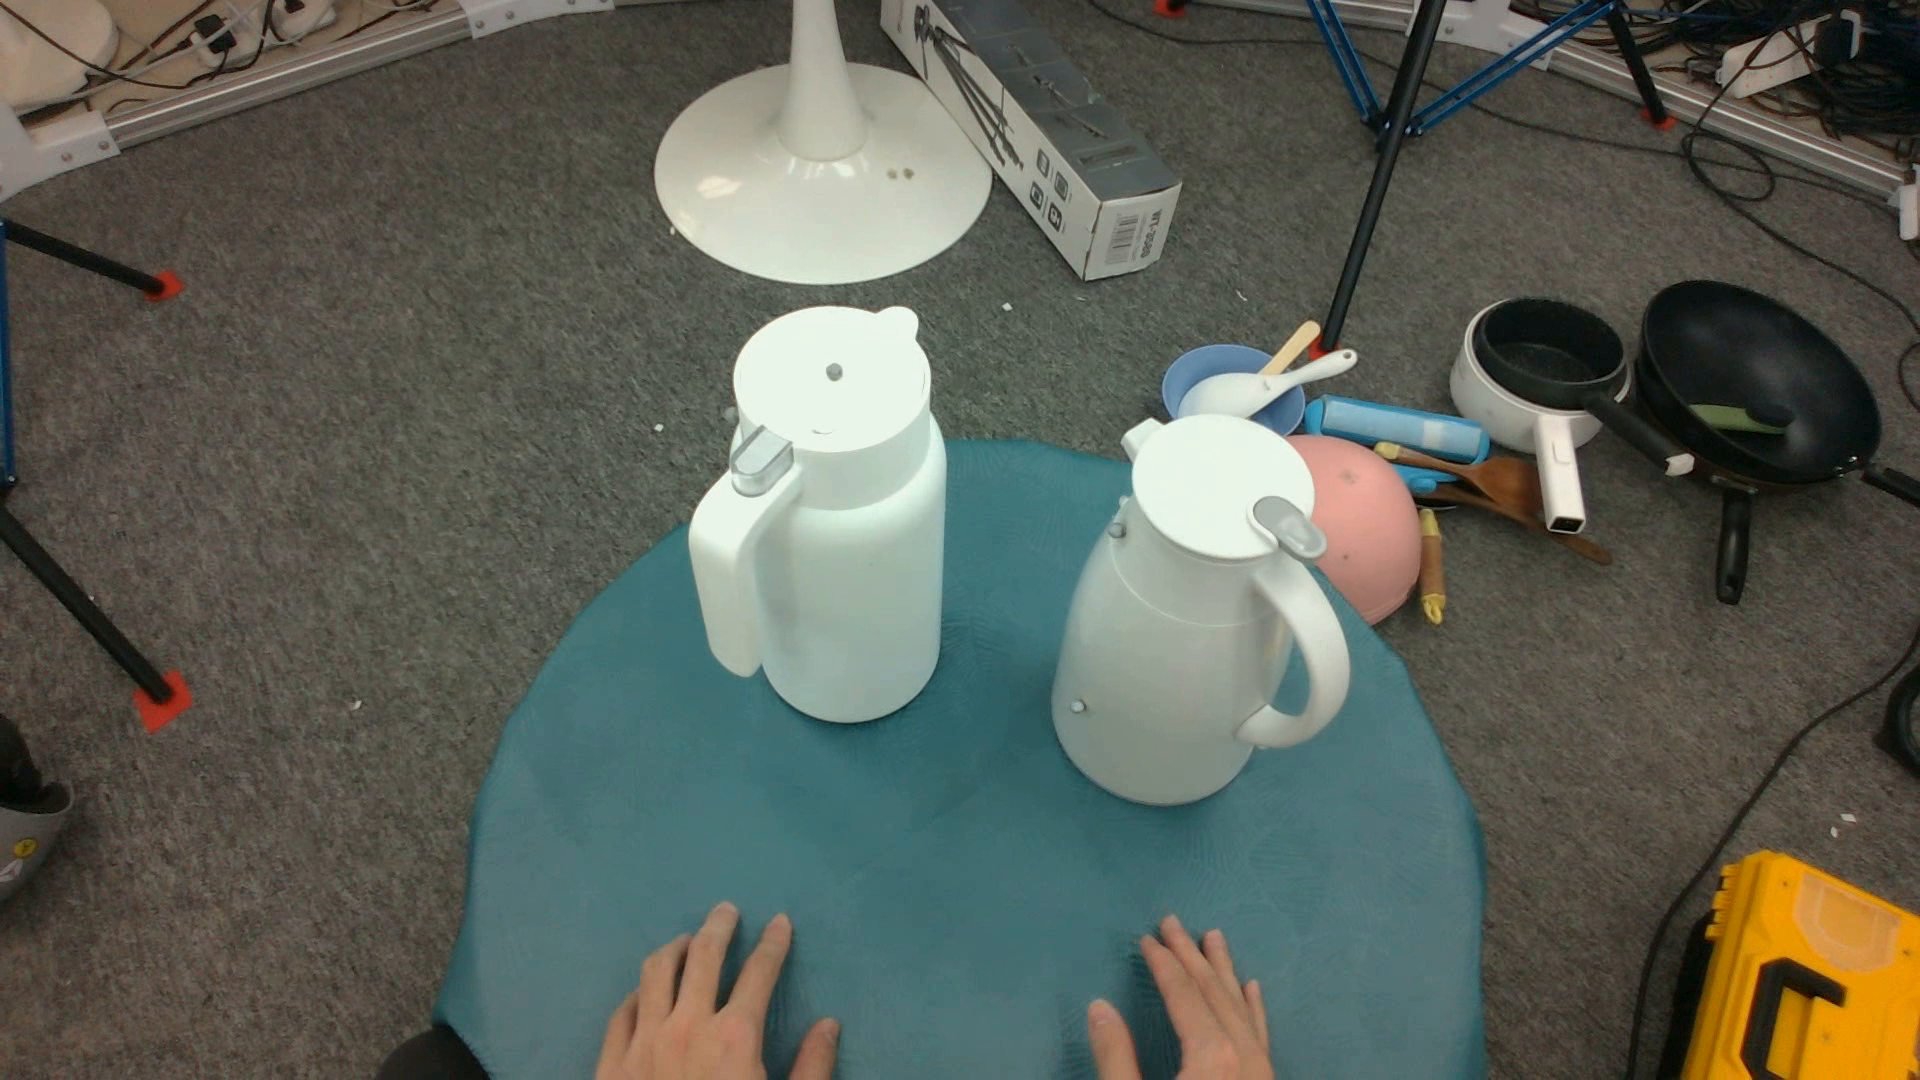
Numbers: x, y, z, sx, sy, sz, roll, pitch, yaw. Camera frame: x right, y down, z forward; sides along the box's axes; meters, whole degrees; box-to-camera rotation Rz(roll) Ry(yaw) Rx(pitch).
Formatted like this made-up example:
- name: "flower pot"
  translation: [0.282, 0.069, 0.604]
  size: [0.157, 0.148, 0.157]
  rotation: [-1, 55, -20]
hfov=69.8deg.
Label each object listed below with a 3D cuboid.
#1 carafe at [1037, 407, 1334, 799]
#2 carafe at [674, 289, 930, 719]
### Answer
- name: "carafe"
  translation: [0.132, 0.046, 0.773]
  size: [0.133, 0.247, 0.168]
  rotation: [-33, 63, -23]
- name: "carafe"
  translation: [-0.085, 0.003, 0.780]
  size: [0.124, 0.267, 0.173]
  rotation: [29, 58, 14]
